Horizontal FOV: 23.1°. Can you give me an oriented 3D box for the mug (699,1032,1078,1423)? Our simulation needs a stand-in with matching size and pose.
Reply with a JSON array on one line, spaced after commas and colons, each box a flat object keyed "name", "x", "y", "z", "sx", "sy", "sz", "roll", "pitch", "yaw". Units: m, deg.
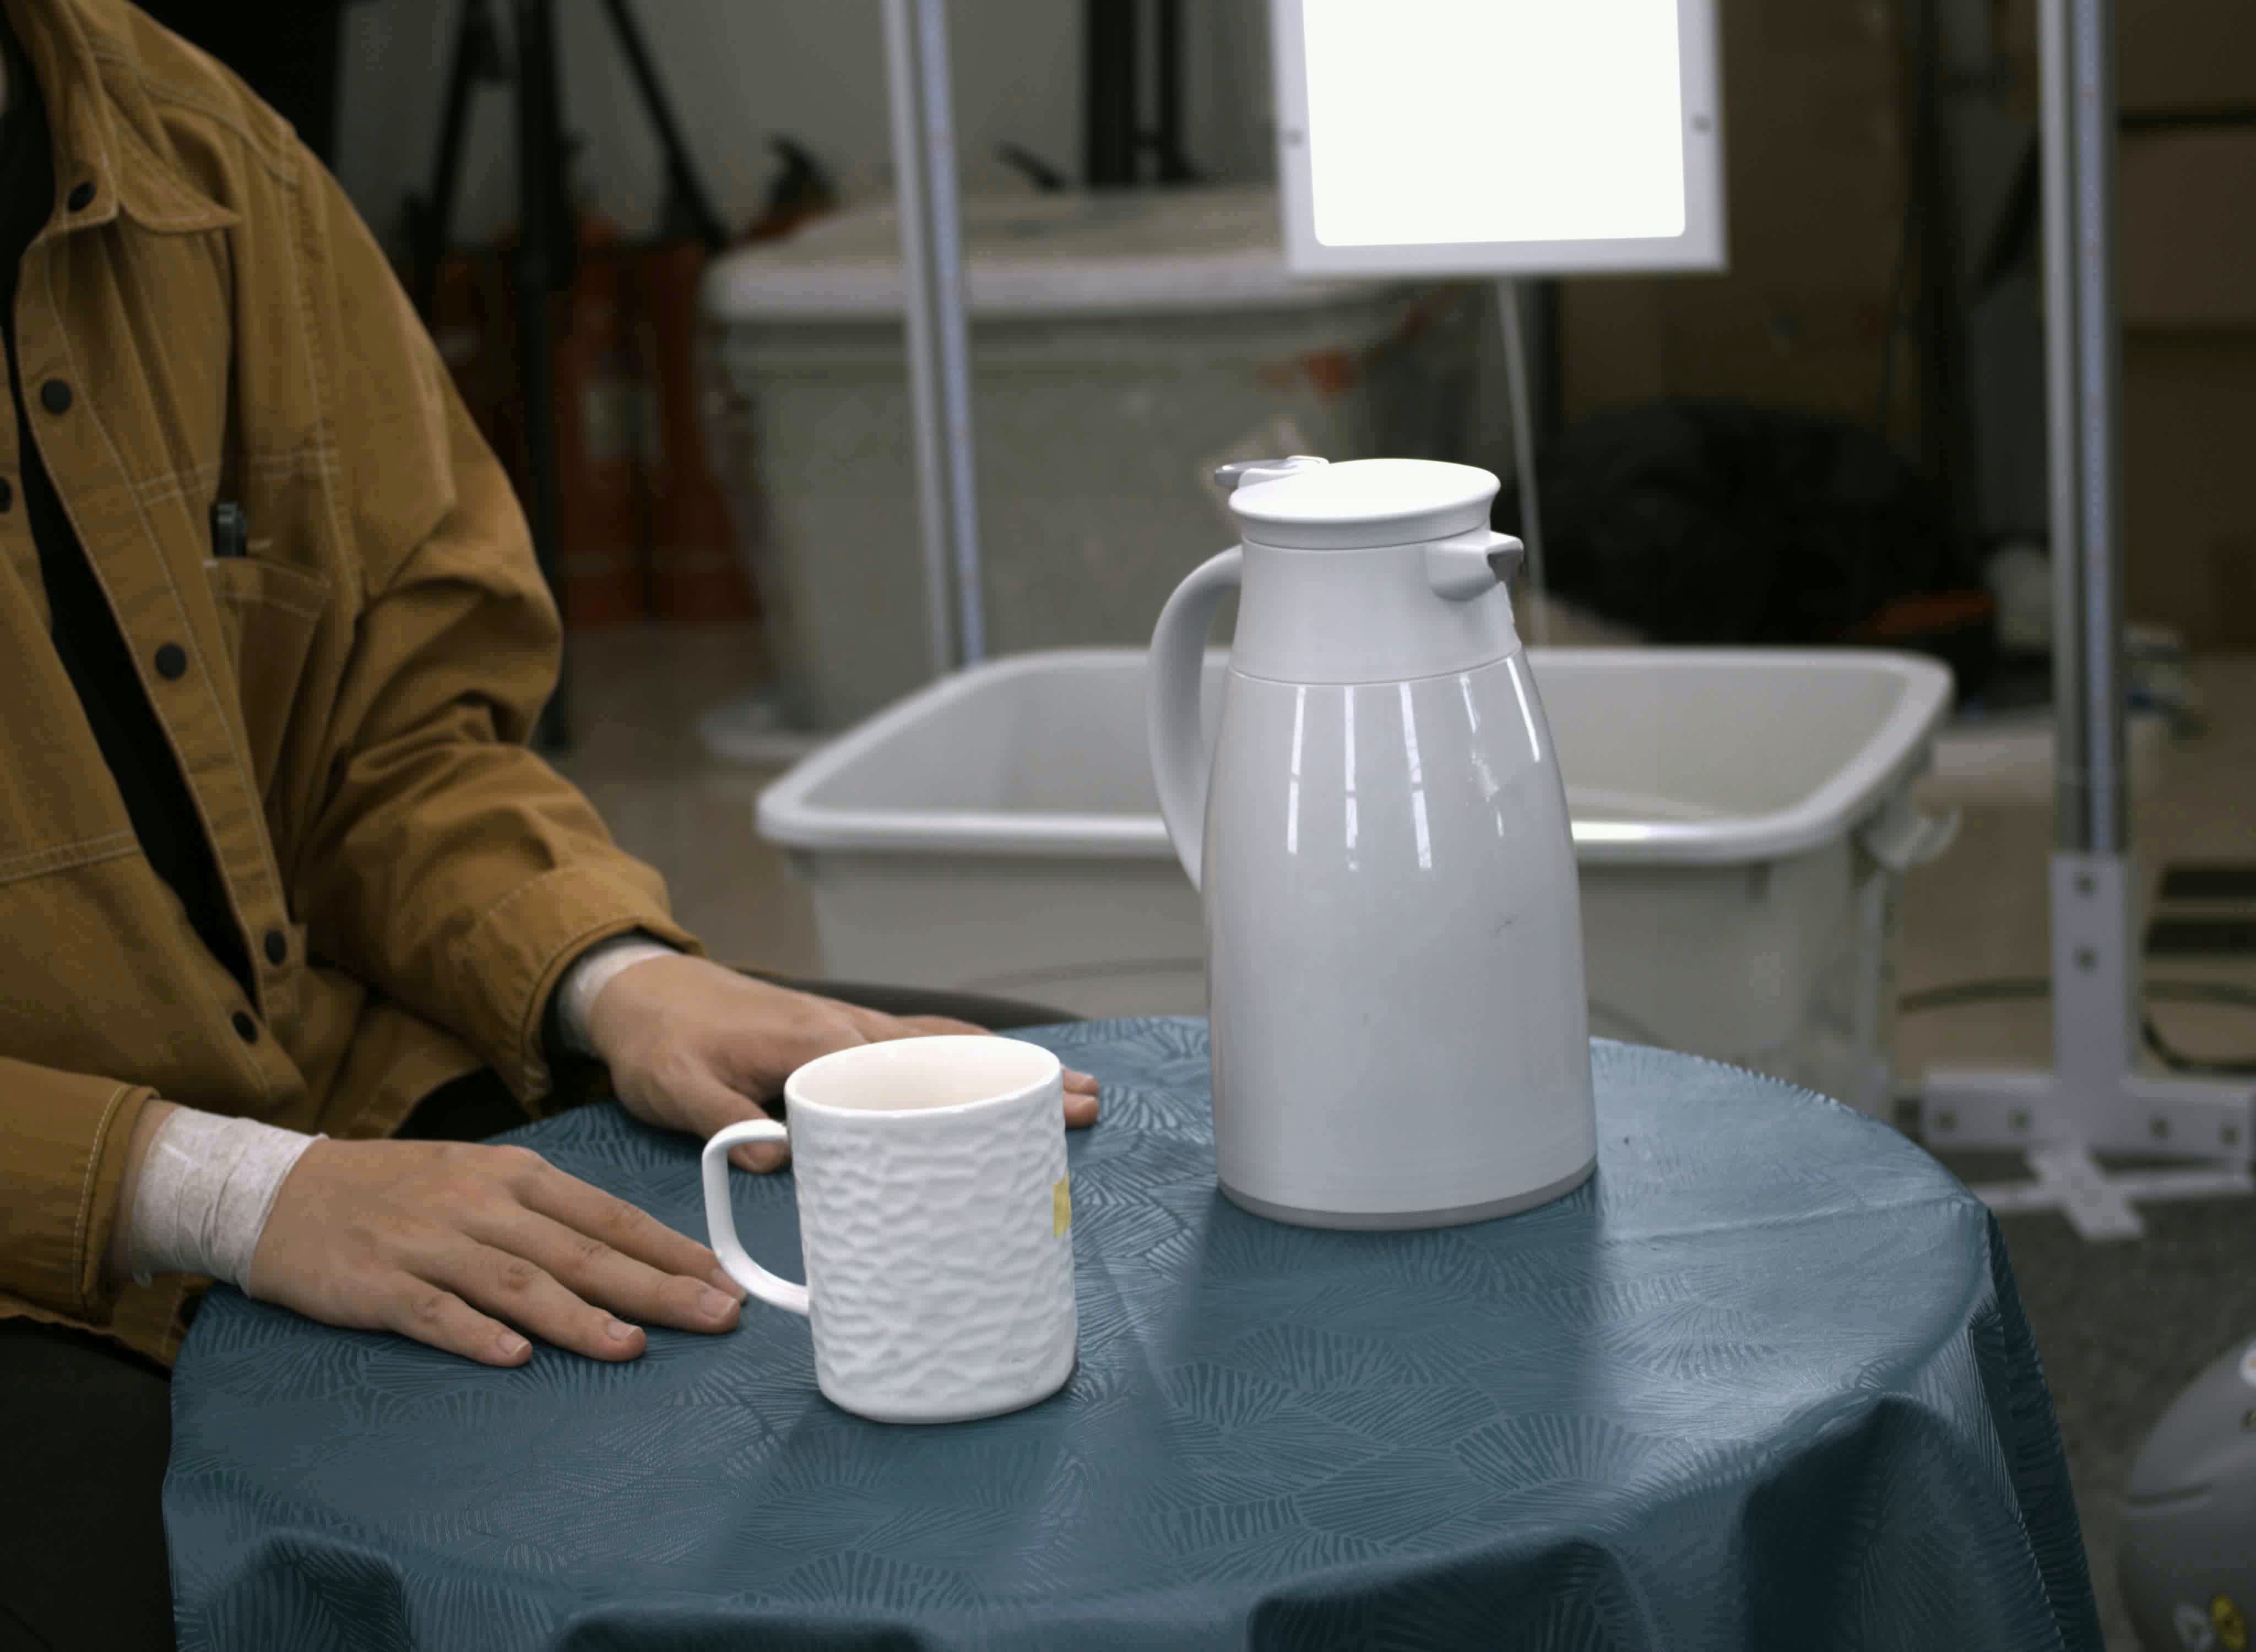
[{"name": "mug", "x": -0.075, "y": 0.125, "z": 1.717, "sx": 0.119, "sy": 0.102, "sz": 0.083, "roll": 0, "pitch": 15, "yaw": 17}]

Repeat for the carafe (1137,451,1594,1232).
[{"name": "carafe", "x": 0.072, "y": -0.003, "z": 1.876, "sx": 0.171, "sy": 0.249, "sz": 0.129, "roll": 9, "pitch": 20, "yaw": 44}]
